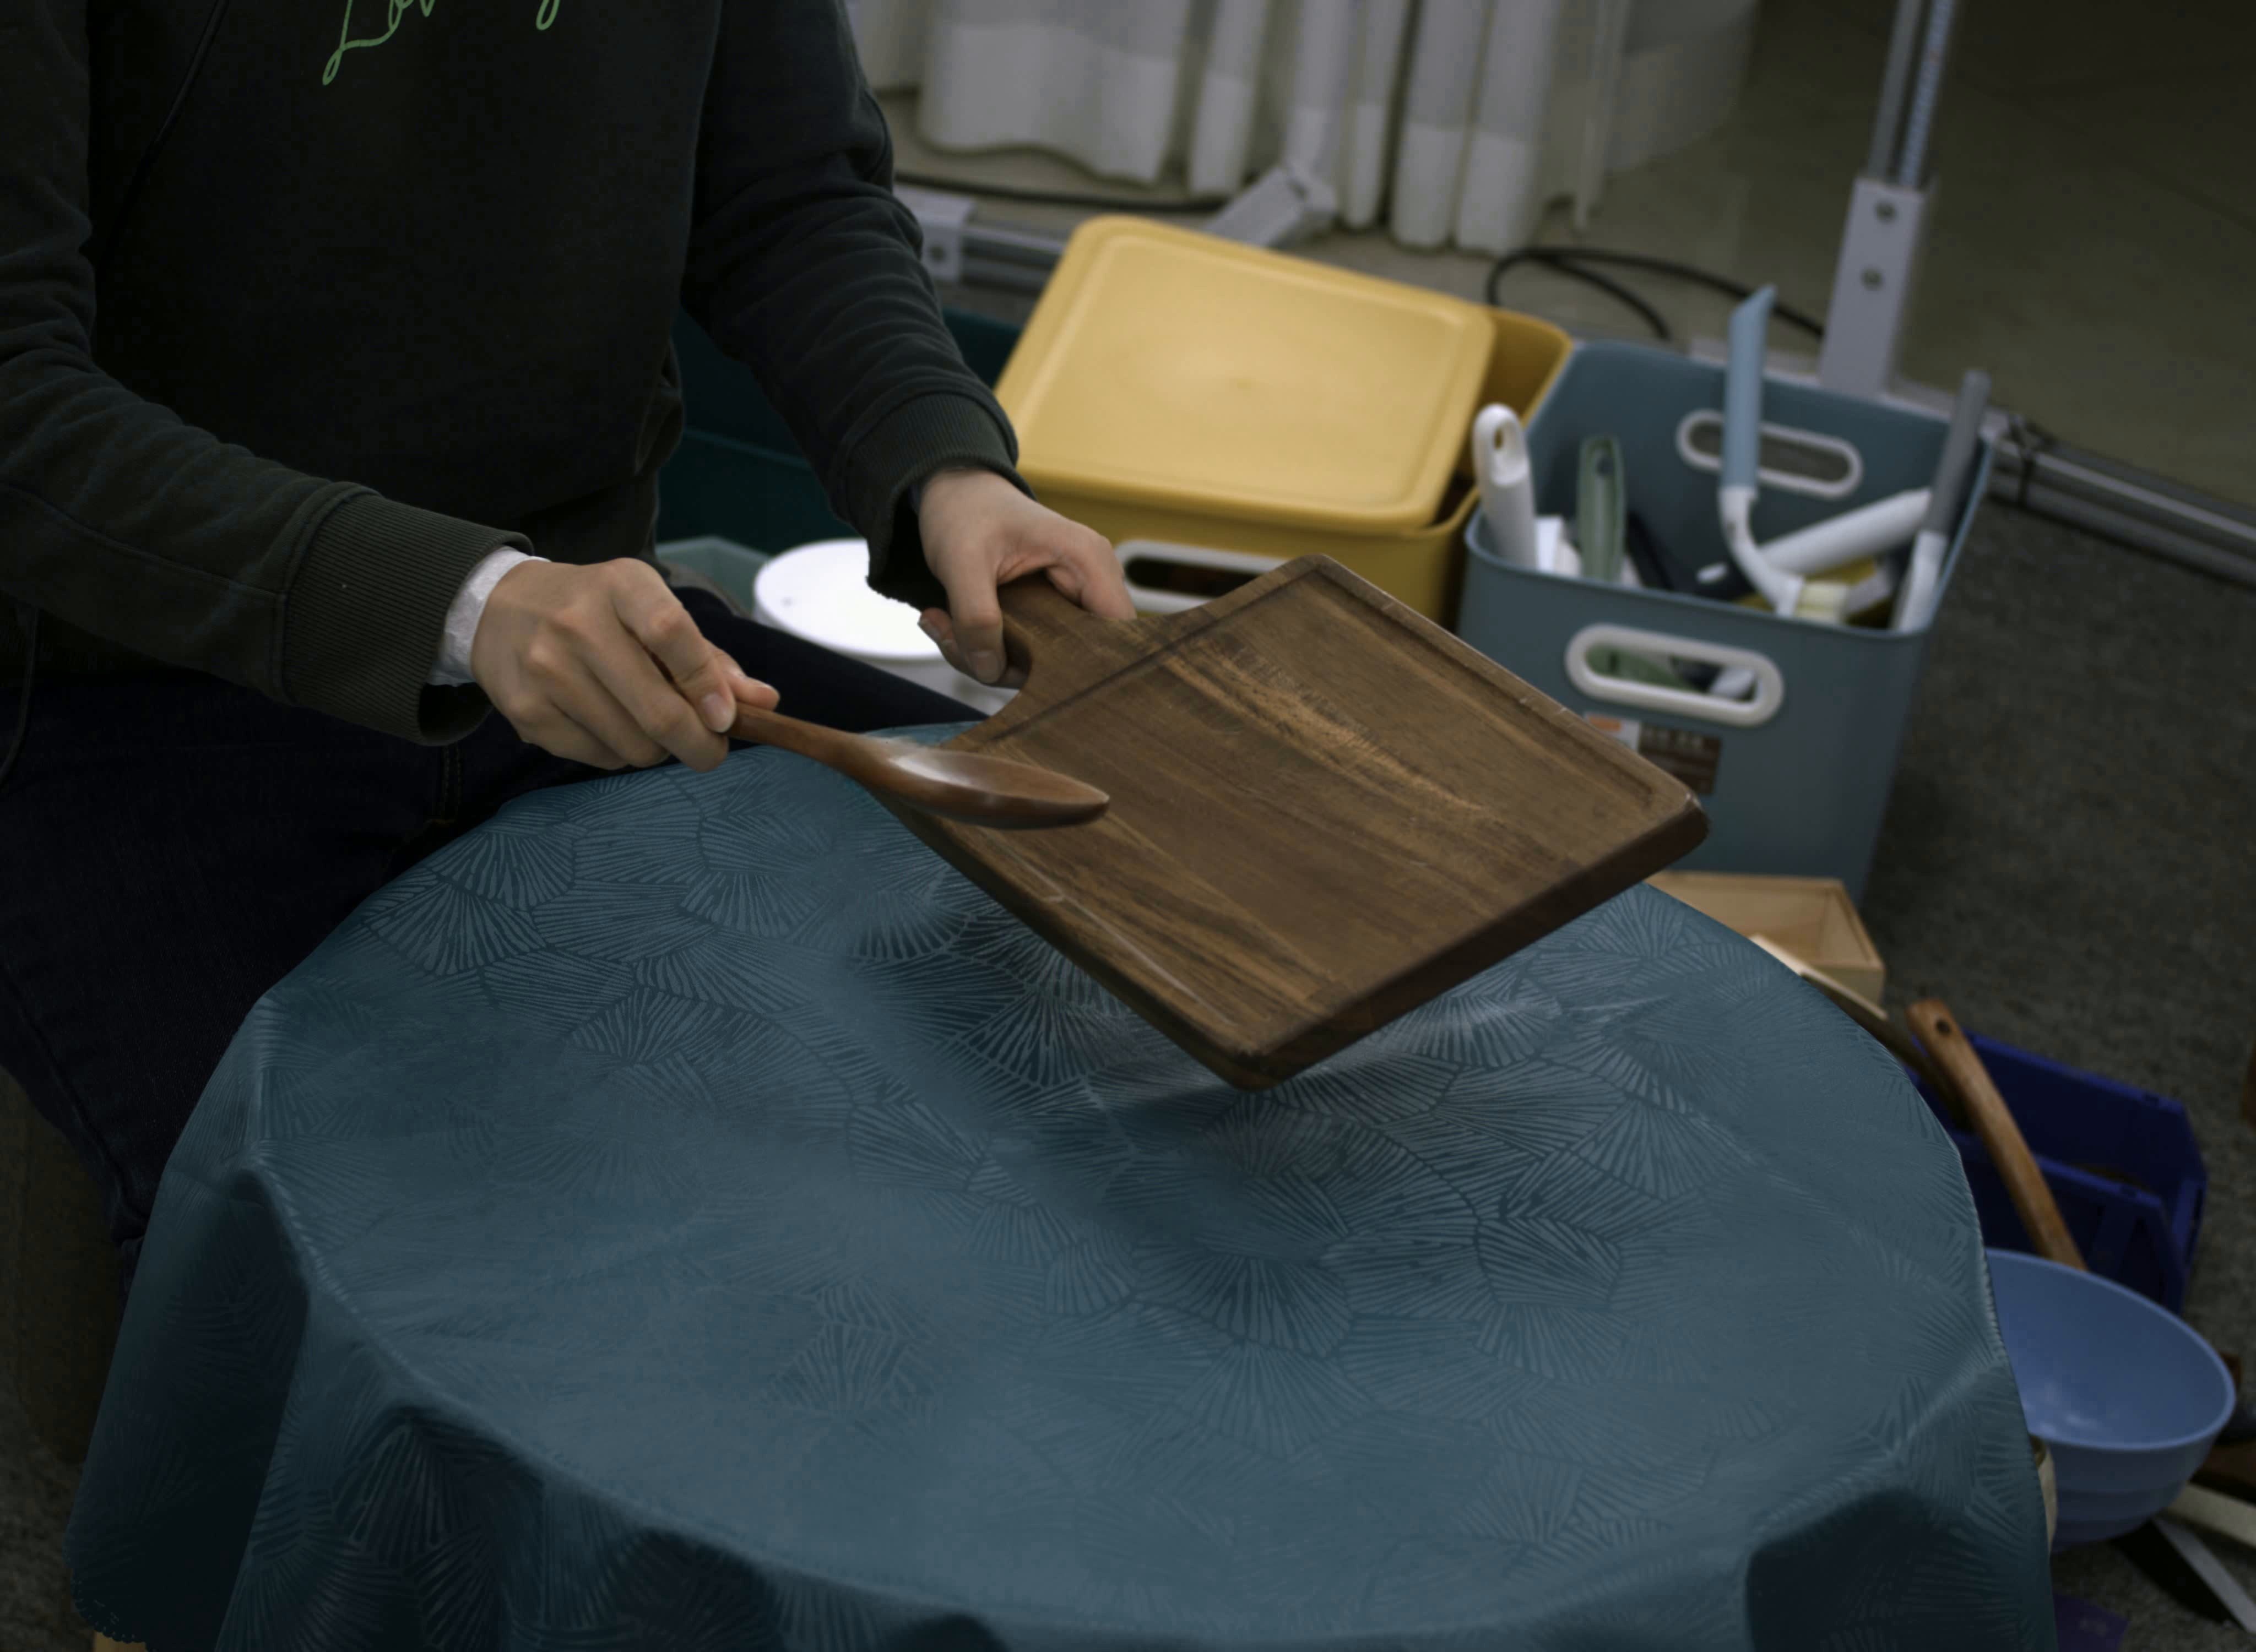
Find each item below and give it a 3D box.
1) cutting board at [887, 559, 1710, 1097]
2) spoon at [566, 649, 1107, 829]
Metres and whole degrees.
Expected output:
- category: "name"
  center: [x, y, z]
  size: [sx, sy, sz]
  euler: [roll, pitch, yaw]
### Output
- category: "cutting board"
  center: [0.031, -0.024, 1.916]
  size: [0.200, 0.023, 0.355]
  euler: [-28, 35, -19]
- category: "spoon"
  center: [-0.101, -0.027, 1.764]
  size: [0.217, 0.017, 0.075]
  euler: [17, 13, 33]
